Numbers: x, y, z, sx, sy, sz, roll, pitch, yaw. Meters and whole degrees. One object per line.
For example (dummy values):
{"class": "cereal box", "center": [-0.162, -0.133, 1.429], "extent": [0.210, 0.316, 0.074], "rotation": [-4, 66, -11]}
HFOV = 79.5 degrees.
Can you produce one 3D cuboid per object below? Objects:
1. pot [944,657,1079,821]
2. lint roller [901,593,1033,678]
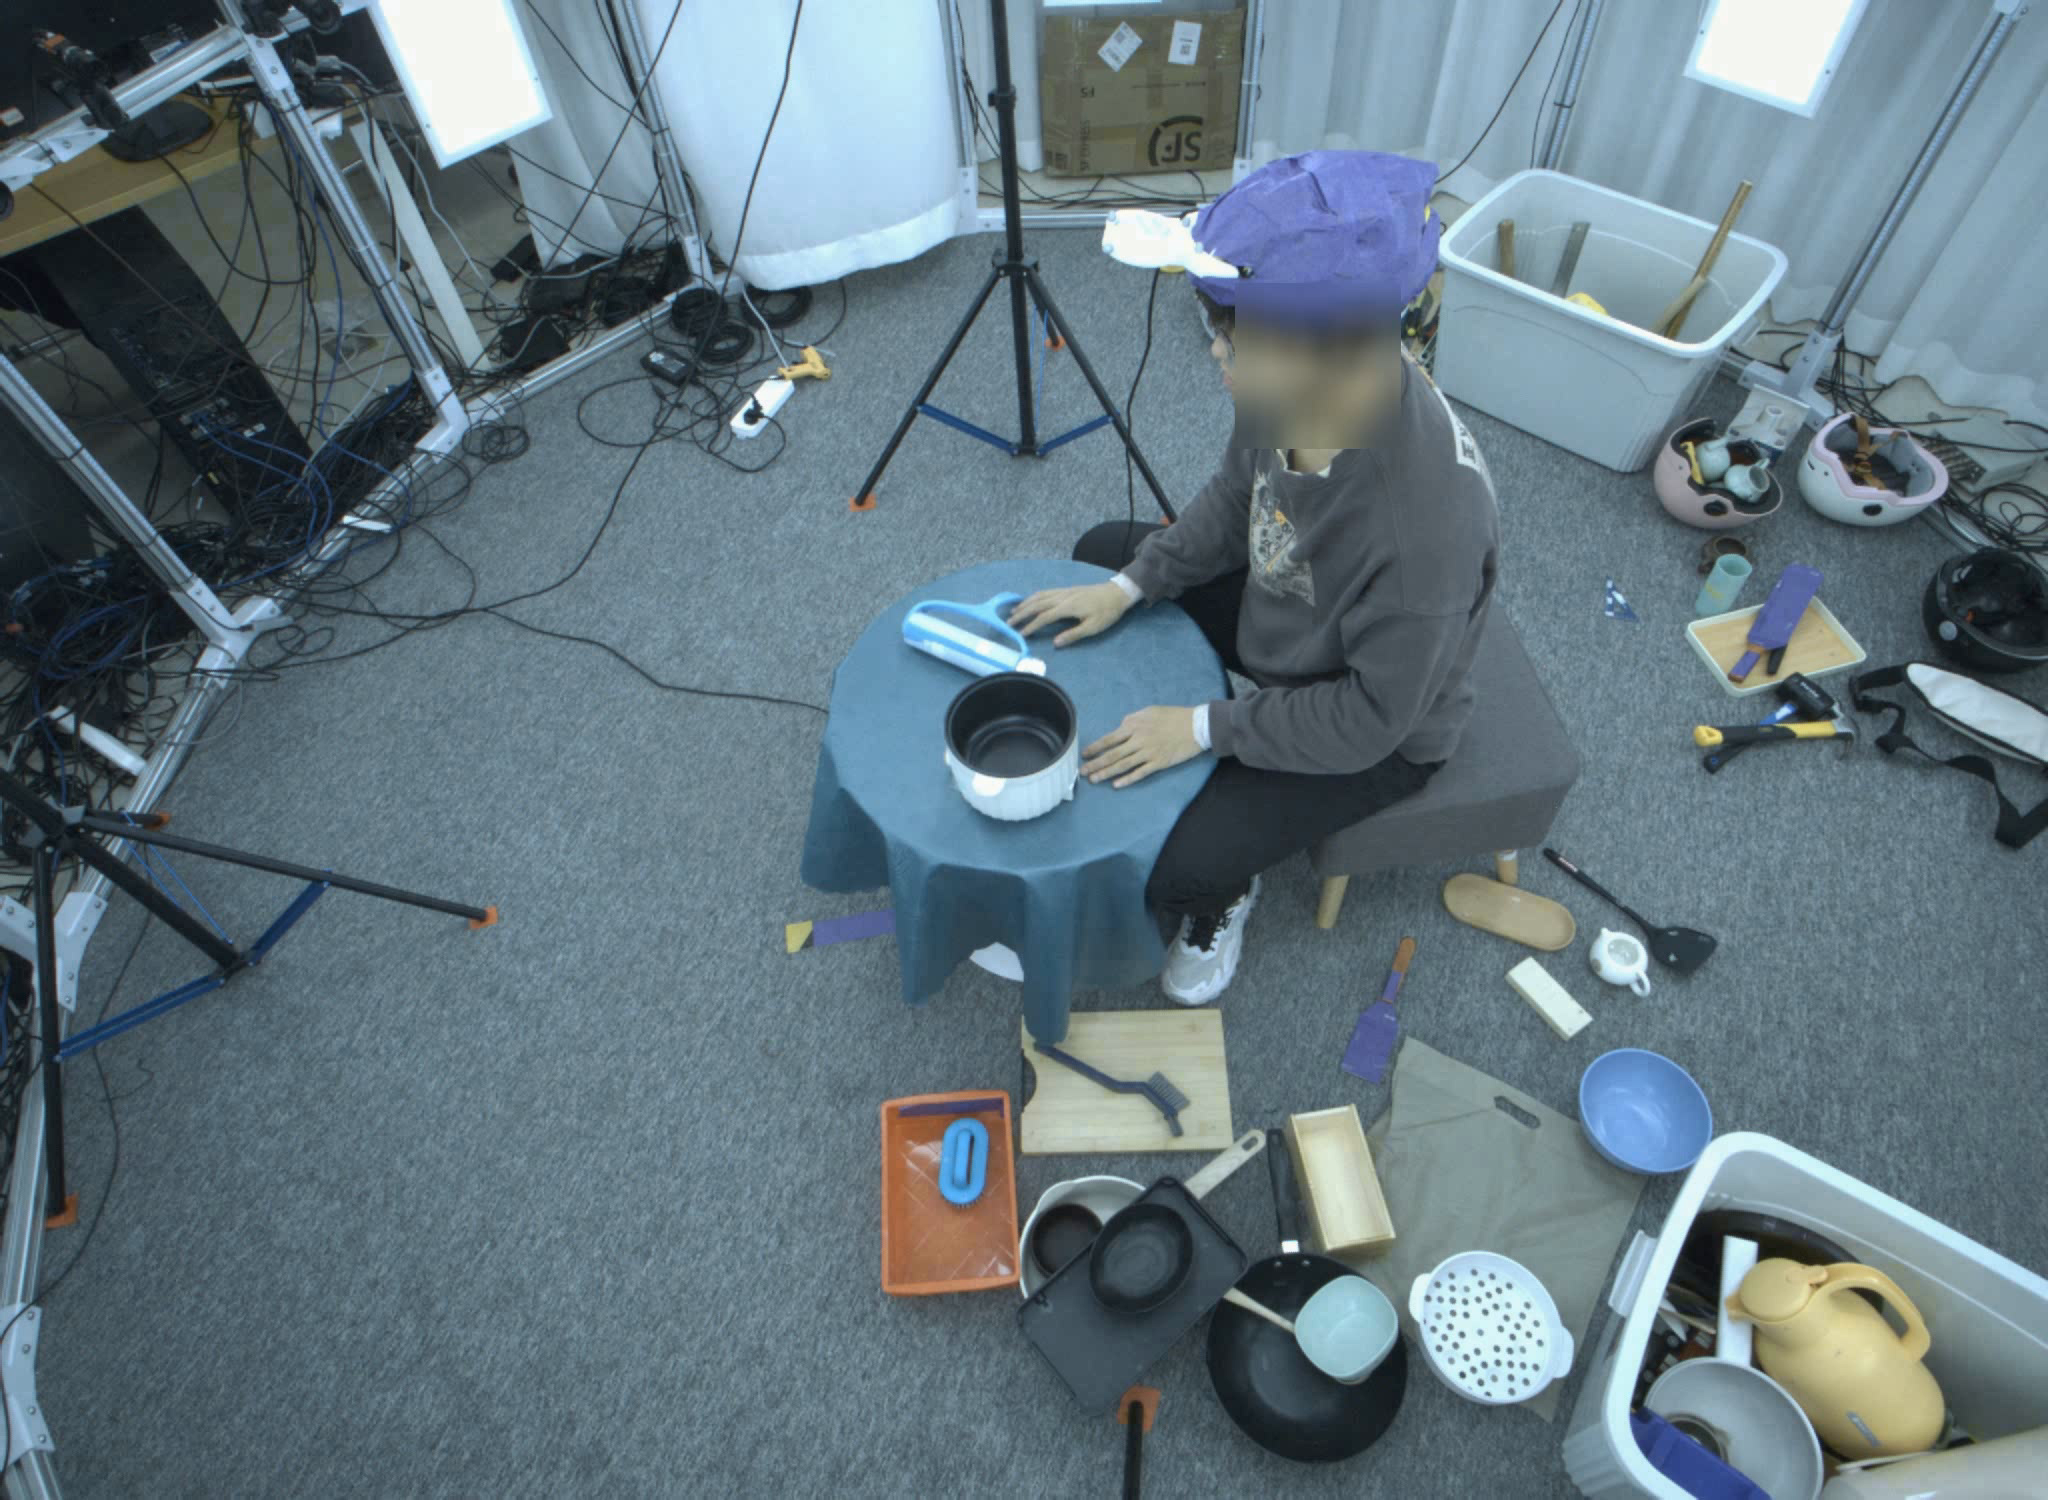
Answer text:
{"class": "pot", "center": [-0.020, 0.002, 1.698], "extent": [0.189, 0.144, 0.239], "rotation": [13, 54, 8]}
{"class": "lint roller", "center": [-0.061, -0.196, 1.892], "extent": [0.226, 0.069, 0.180], "rotation": [22, 59, 18]}
